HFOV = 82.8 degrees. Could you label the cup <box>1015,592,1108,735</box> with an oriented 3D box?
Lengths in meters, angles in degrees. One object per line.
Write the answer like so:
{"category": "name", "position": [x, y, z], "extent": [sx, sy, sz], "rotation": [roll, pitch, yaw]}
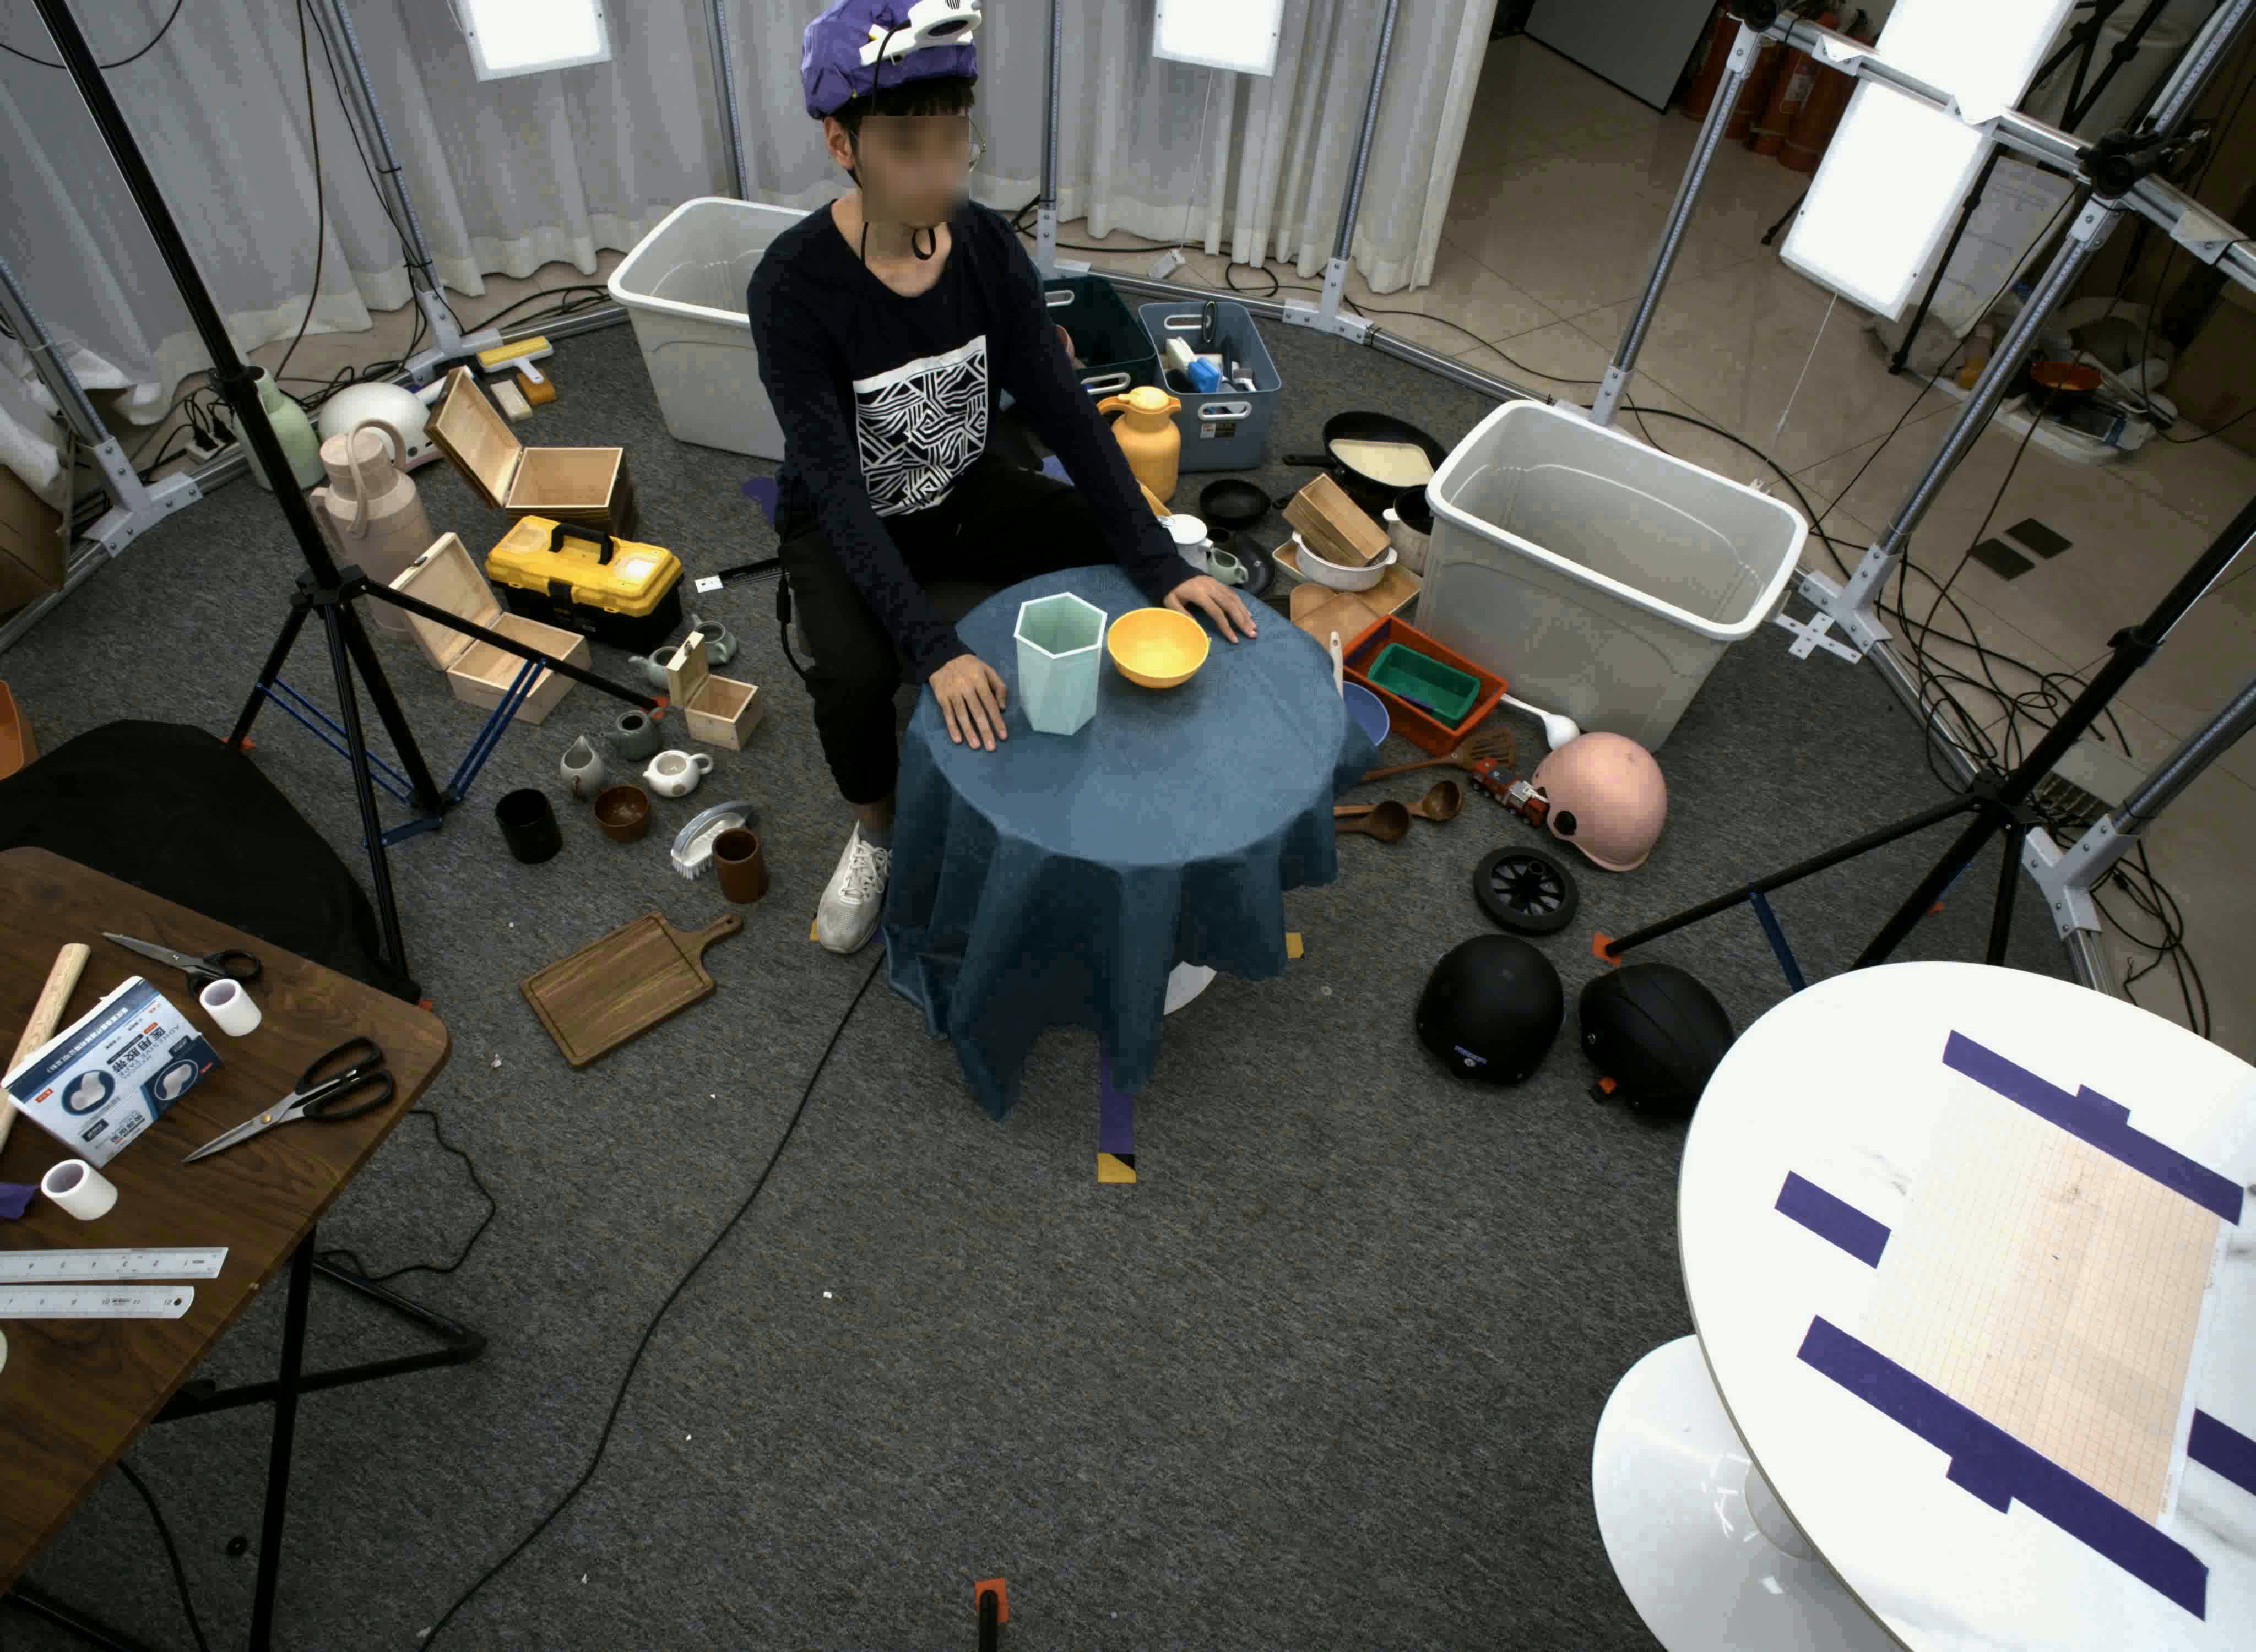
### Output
{"category": "cup", "position": [-0.091, -0.214, 1.742], "extent": [0.131, 0.159, 0.118], "rotation": [-16, 51, -18]}

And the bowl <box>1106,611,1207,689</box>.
{"category": "bowl", "position": [0.039, -0.241, 1.847], "extent": [0.145, 0.058, 0.149], "rotation": [2, 46, -2]}
